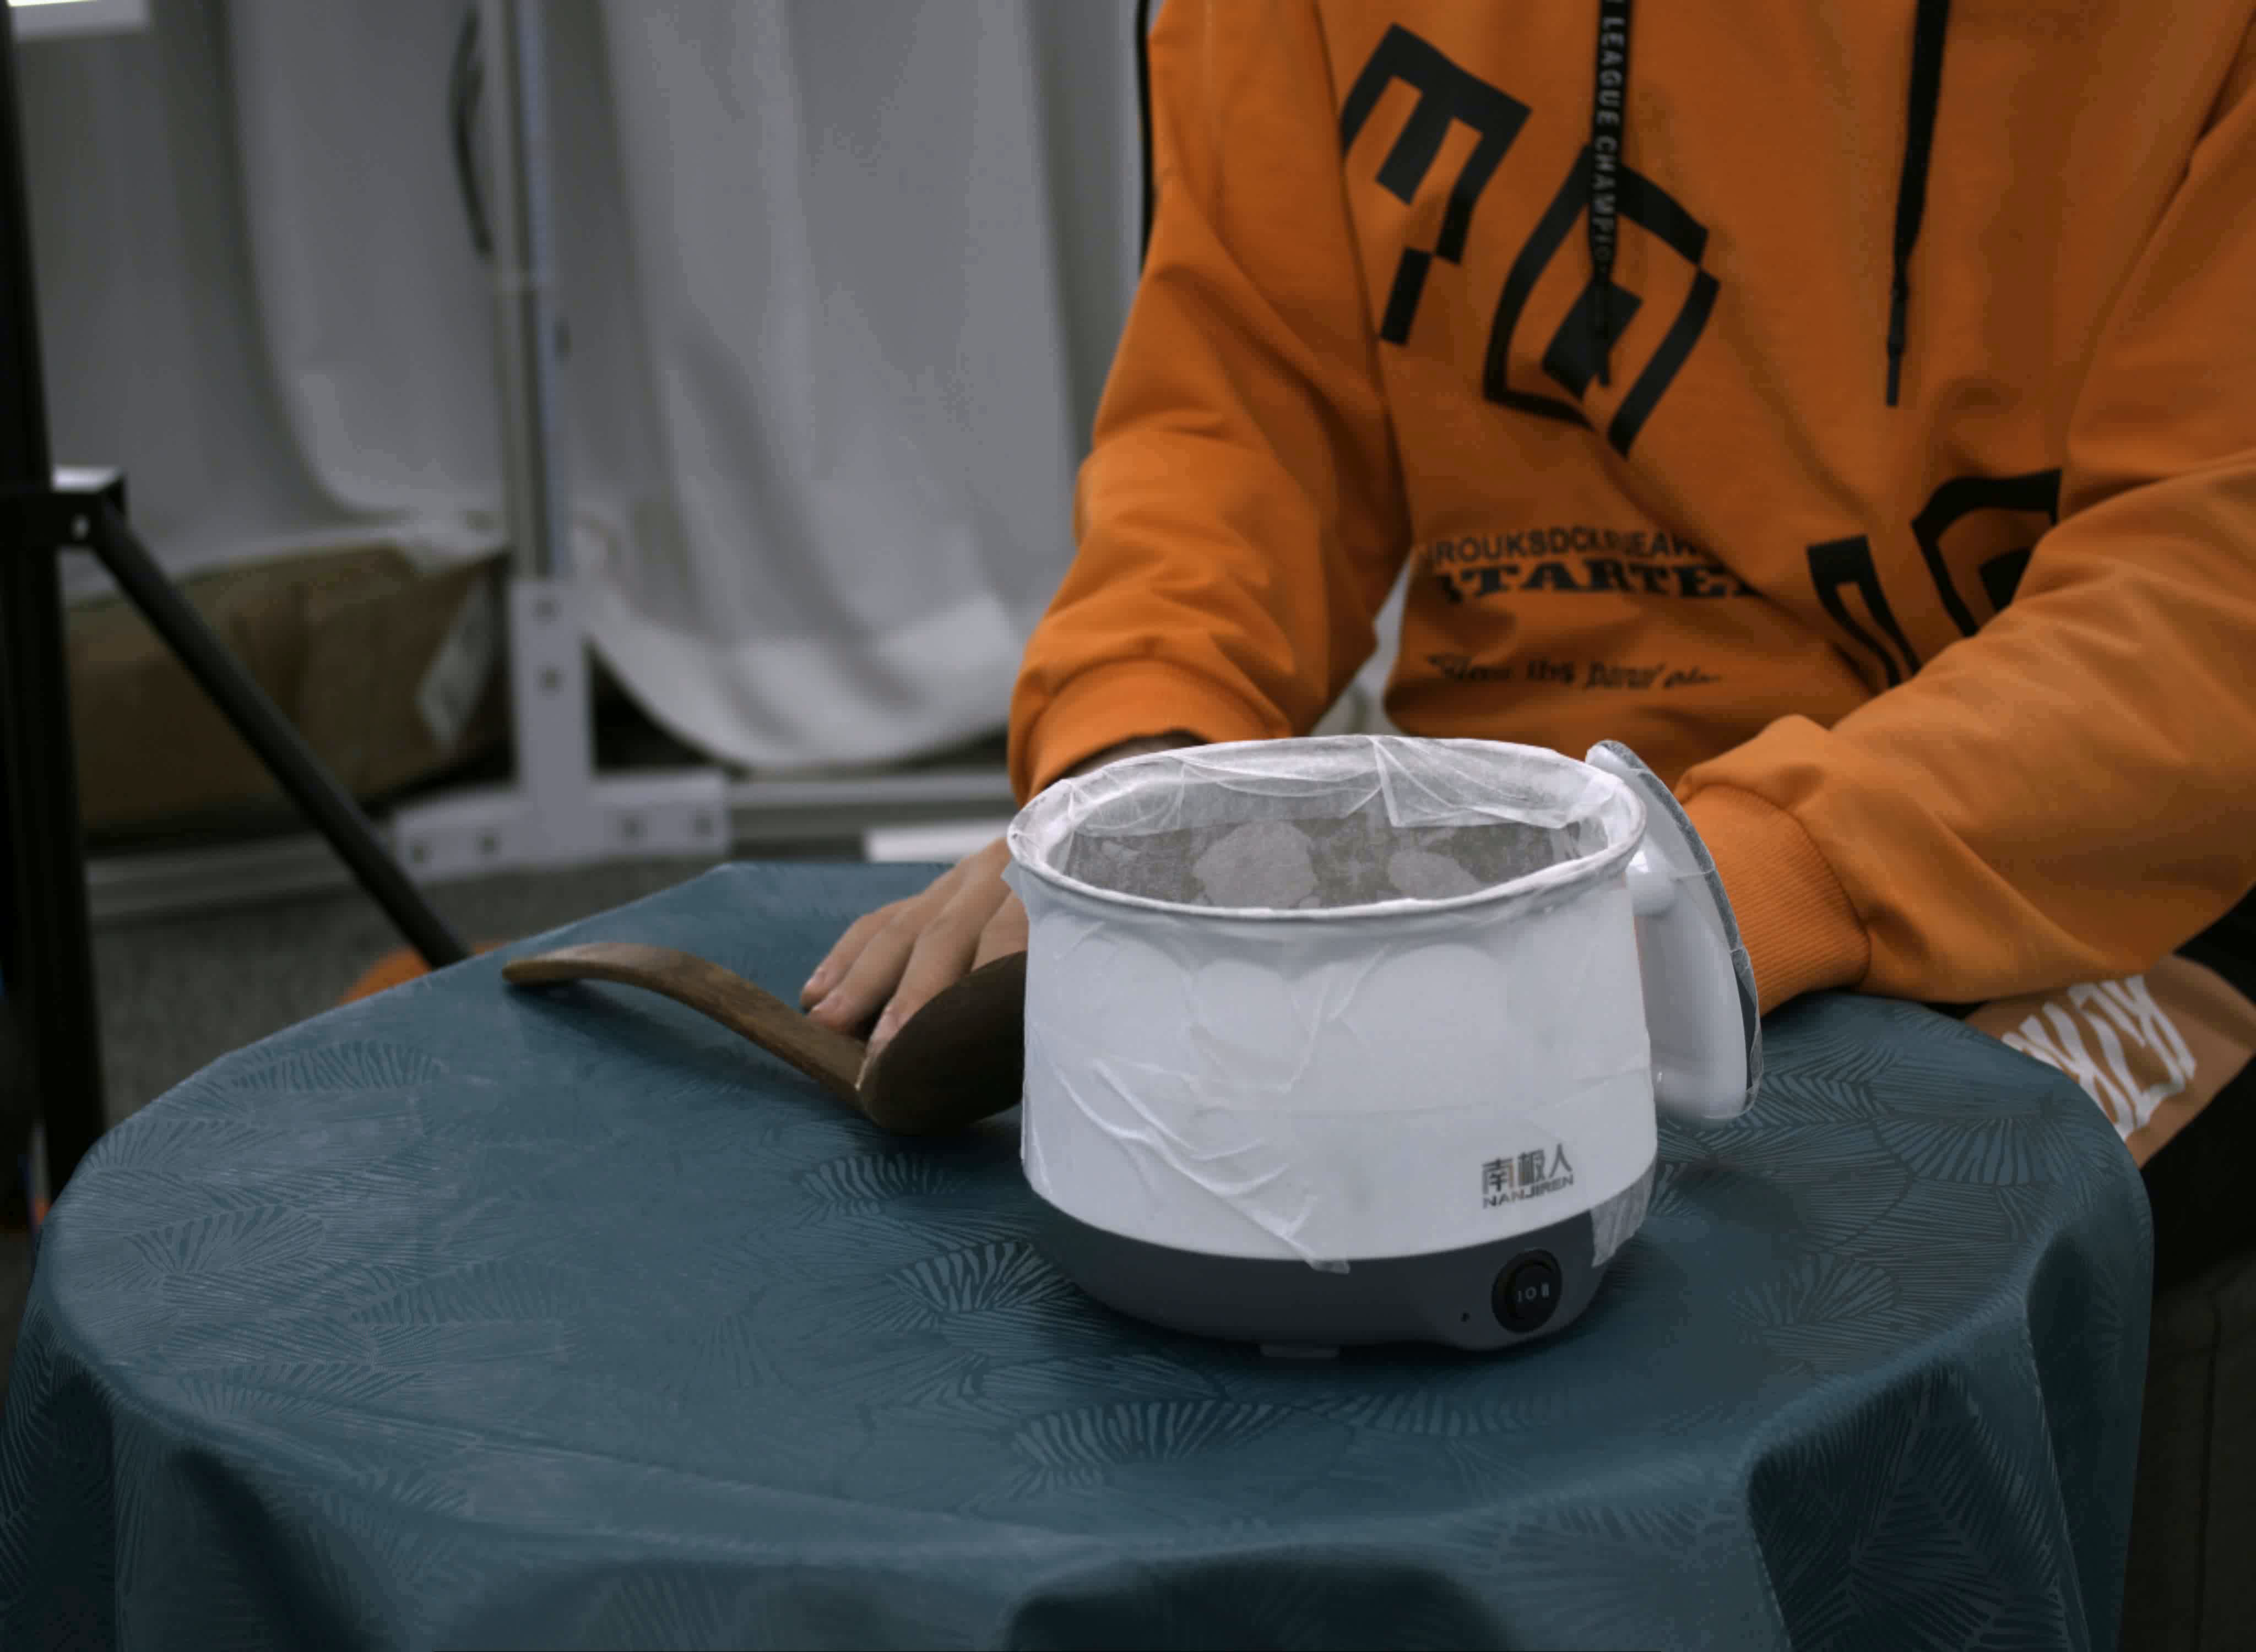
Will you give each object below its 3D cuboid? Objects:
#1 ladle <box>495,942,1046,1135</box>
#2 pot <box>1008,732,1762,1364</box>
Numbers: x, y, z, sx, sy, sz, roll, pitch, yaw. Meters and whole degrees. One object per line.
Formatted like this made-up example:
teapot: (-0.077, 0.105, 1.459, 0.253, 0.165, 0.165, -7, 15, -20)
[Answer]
ladle: (-0.116, 0.044, 1.678, 0.074, 0.071, 0.280, -10, 18, -37)
pot: (0.080, 0.054, 1.483, 0.228, 0.136, 0.183, -13, 19, -32)
